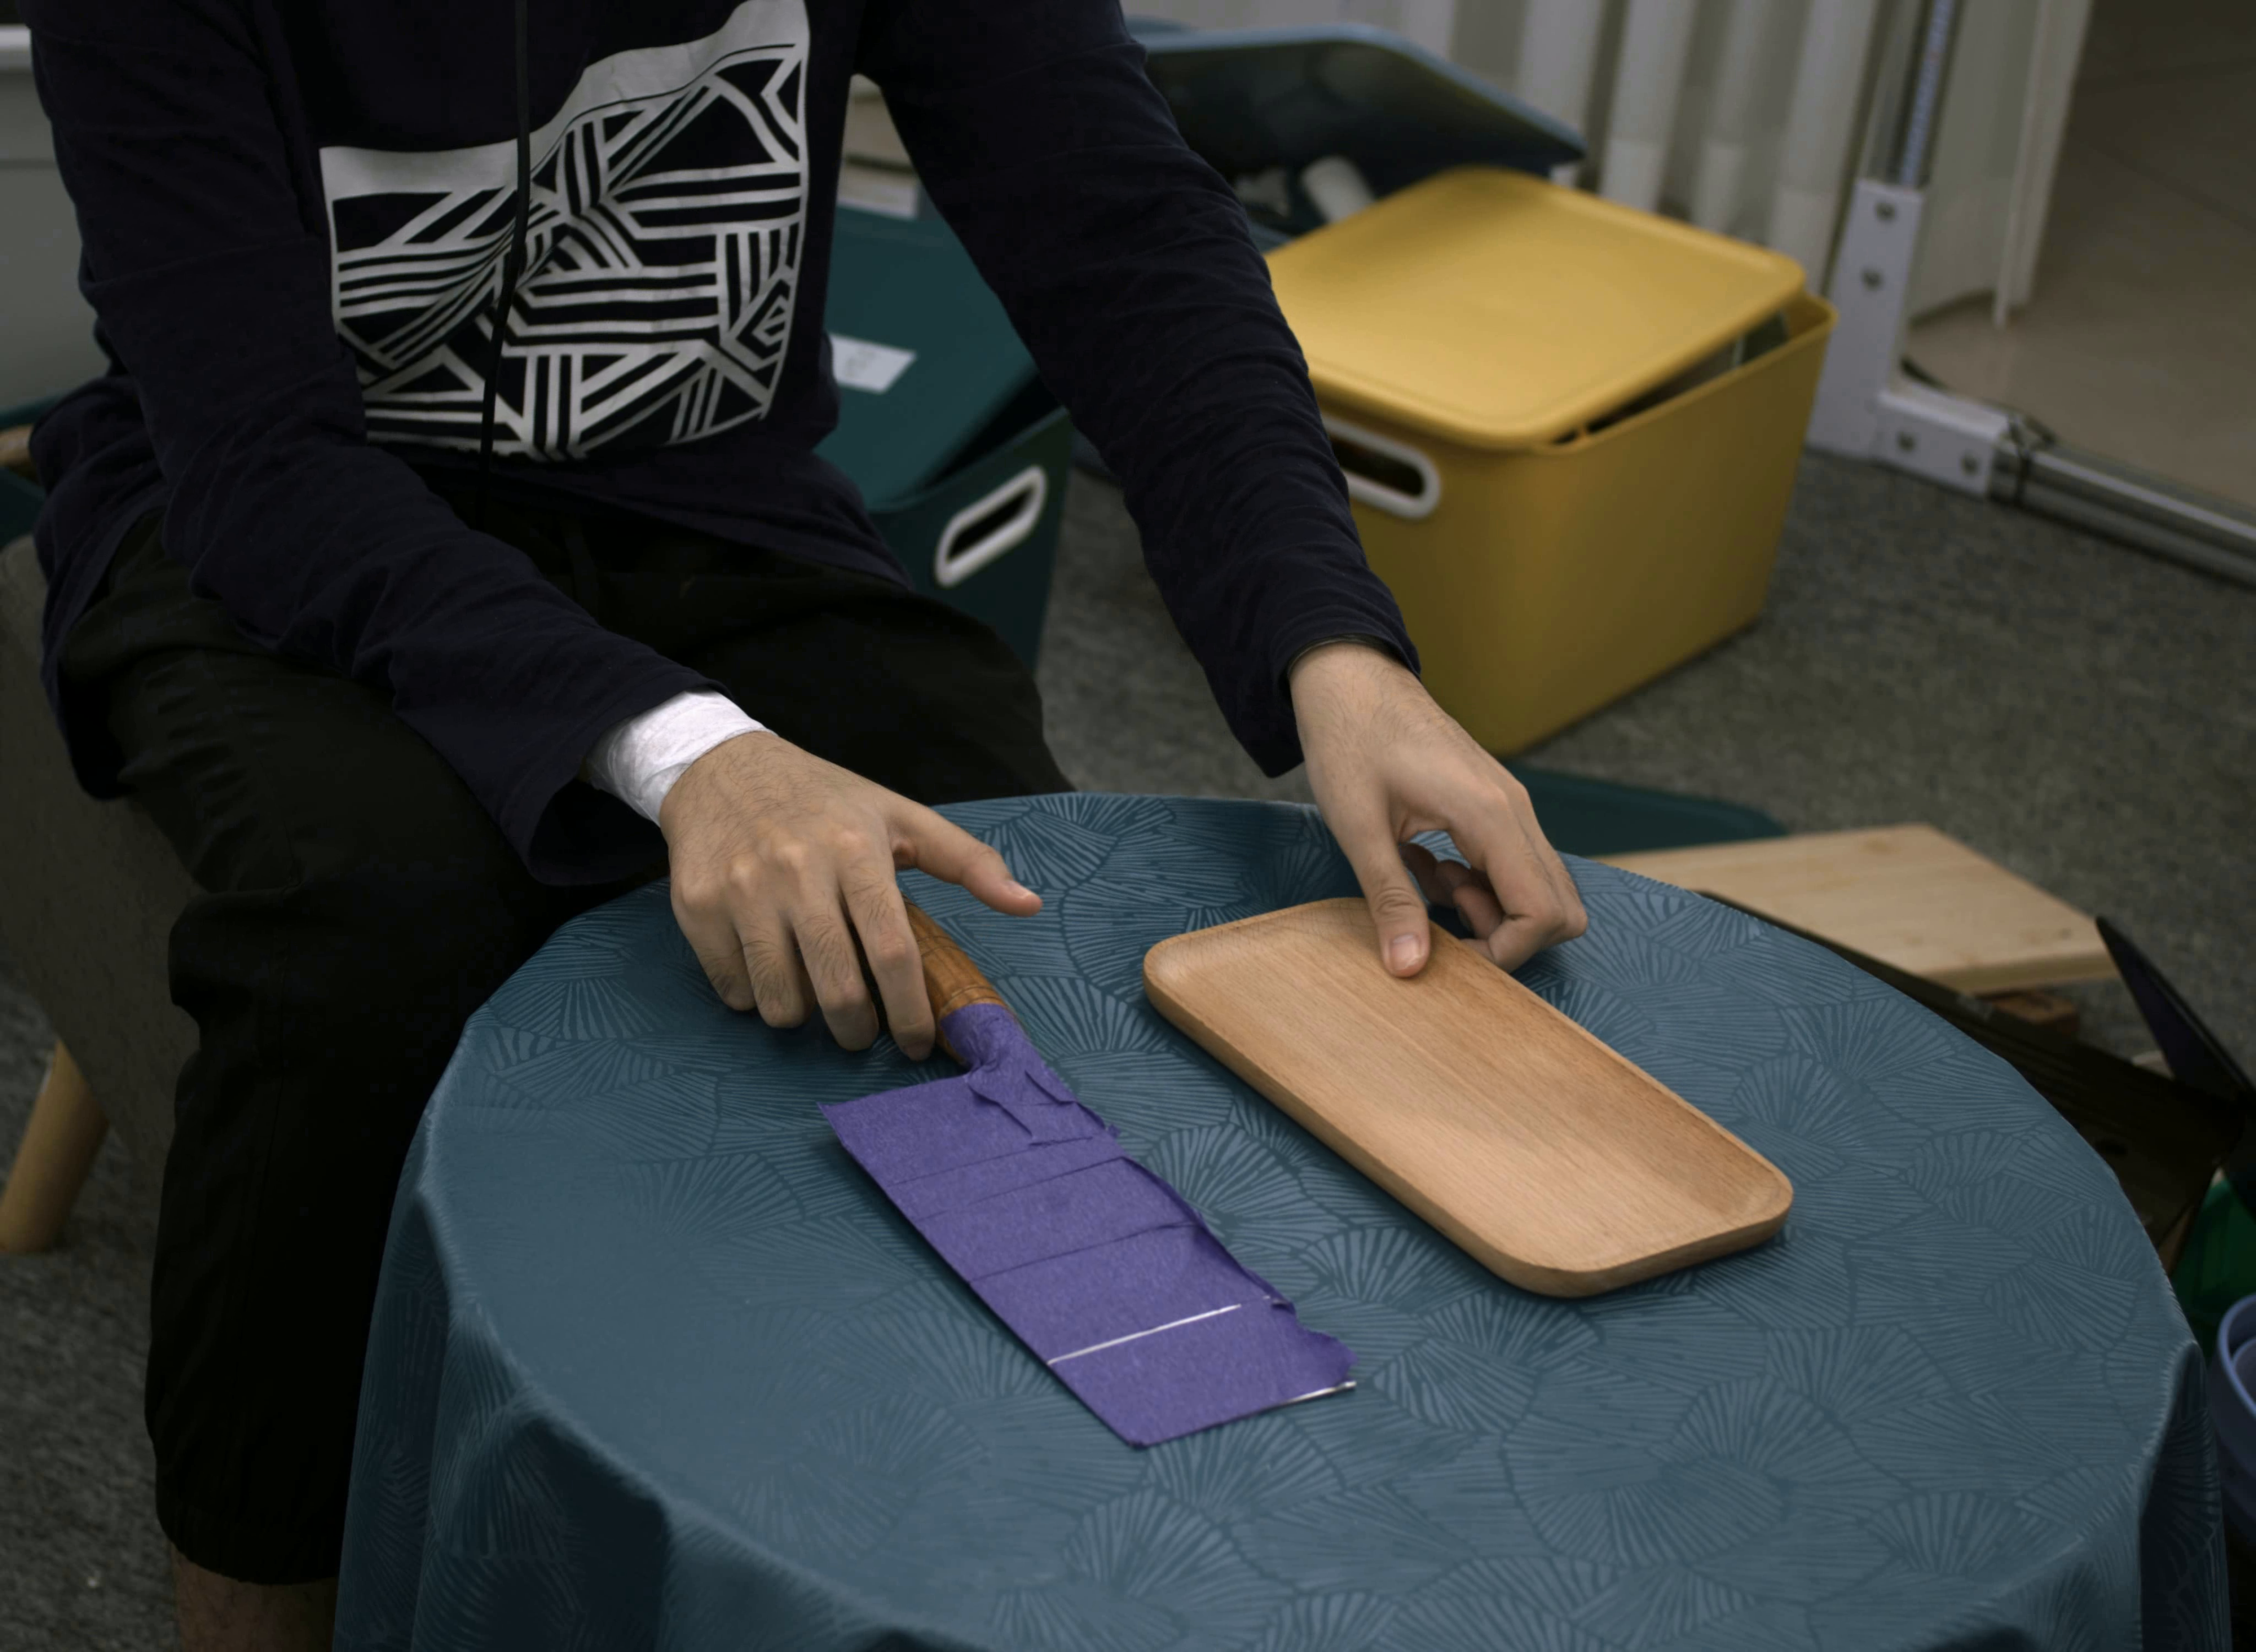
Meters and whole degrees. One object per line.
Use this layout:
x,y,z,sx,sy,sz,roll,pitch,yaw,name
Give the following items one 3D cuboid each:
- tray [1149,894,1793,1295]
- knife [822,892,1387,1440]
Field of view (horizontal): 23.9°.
0.117,0.092,1.877,0.129,0.023,0.253,-9,30,-32,tray
-0.040,0.110,1.794,0.103,0.032,0.318,-11,32,-31,knife
